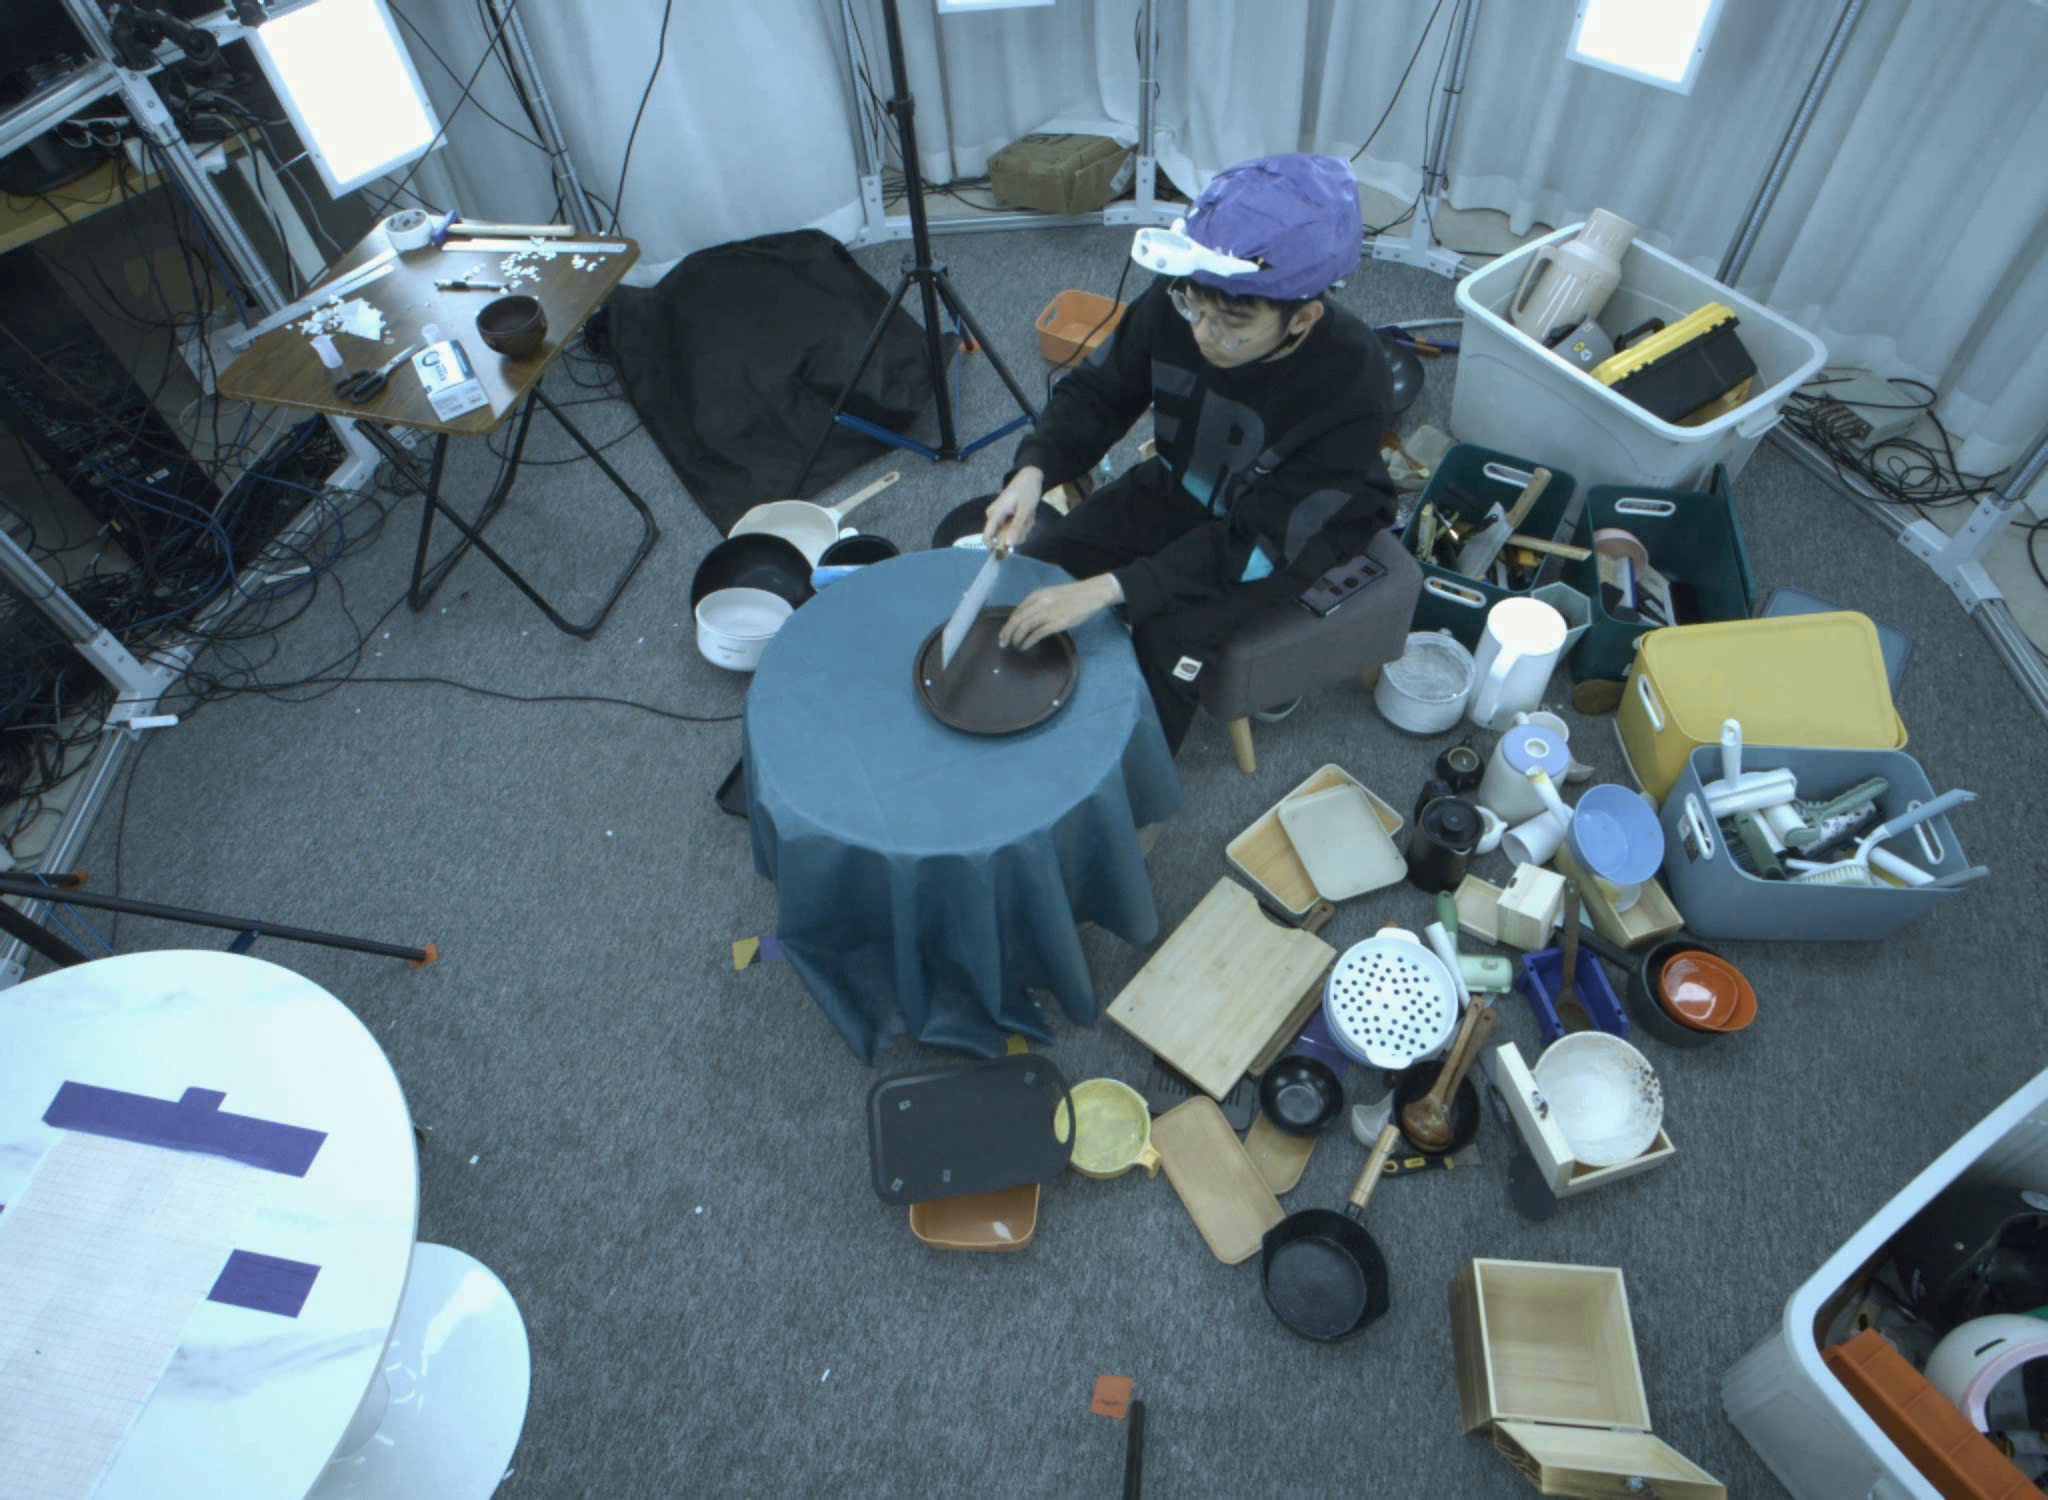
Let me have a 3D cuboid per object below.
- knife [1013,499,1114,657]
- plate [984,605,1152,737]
[{"bbox_3d":[0.058,-0.257,1.843,0.021,0.093,0.306,25,59,13],"label":"knife"},{"bbox_3d":[0.065,-0.121,1.854,0.255,0.029,0.252,0,56,1],"label":"plate"}]
